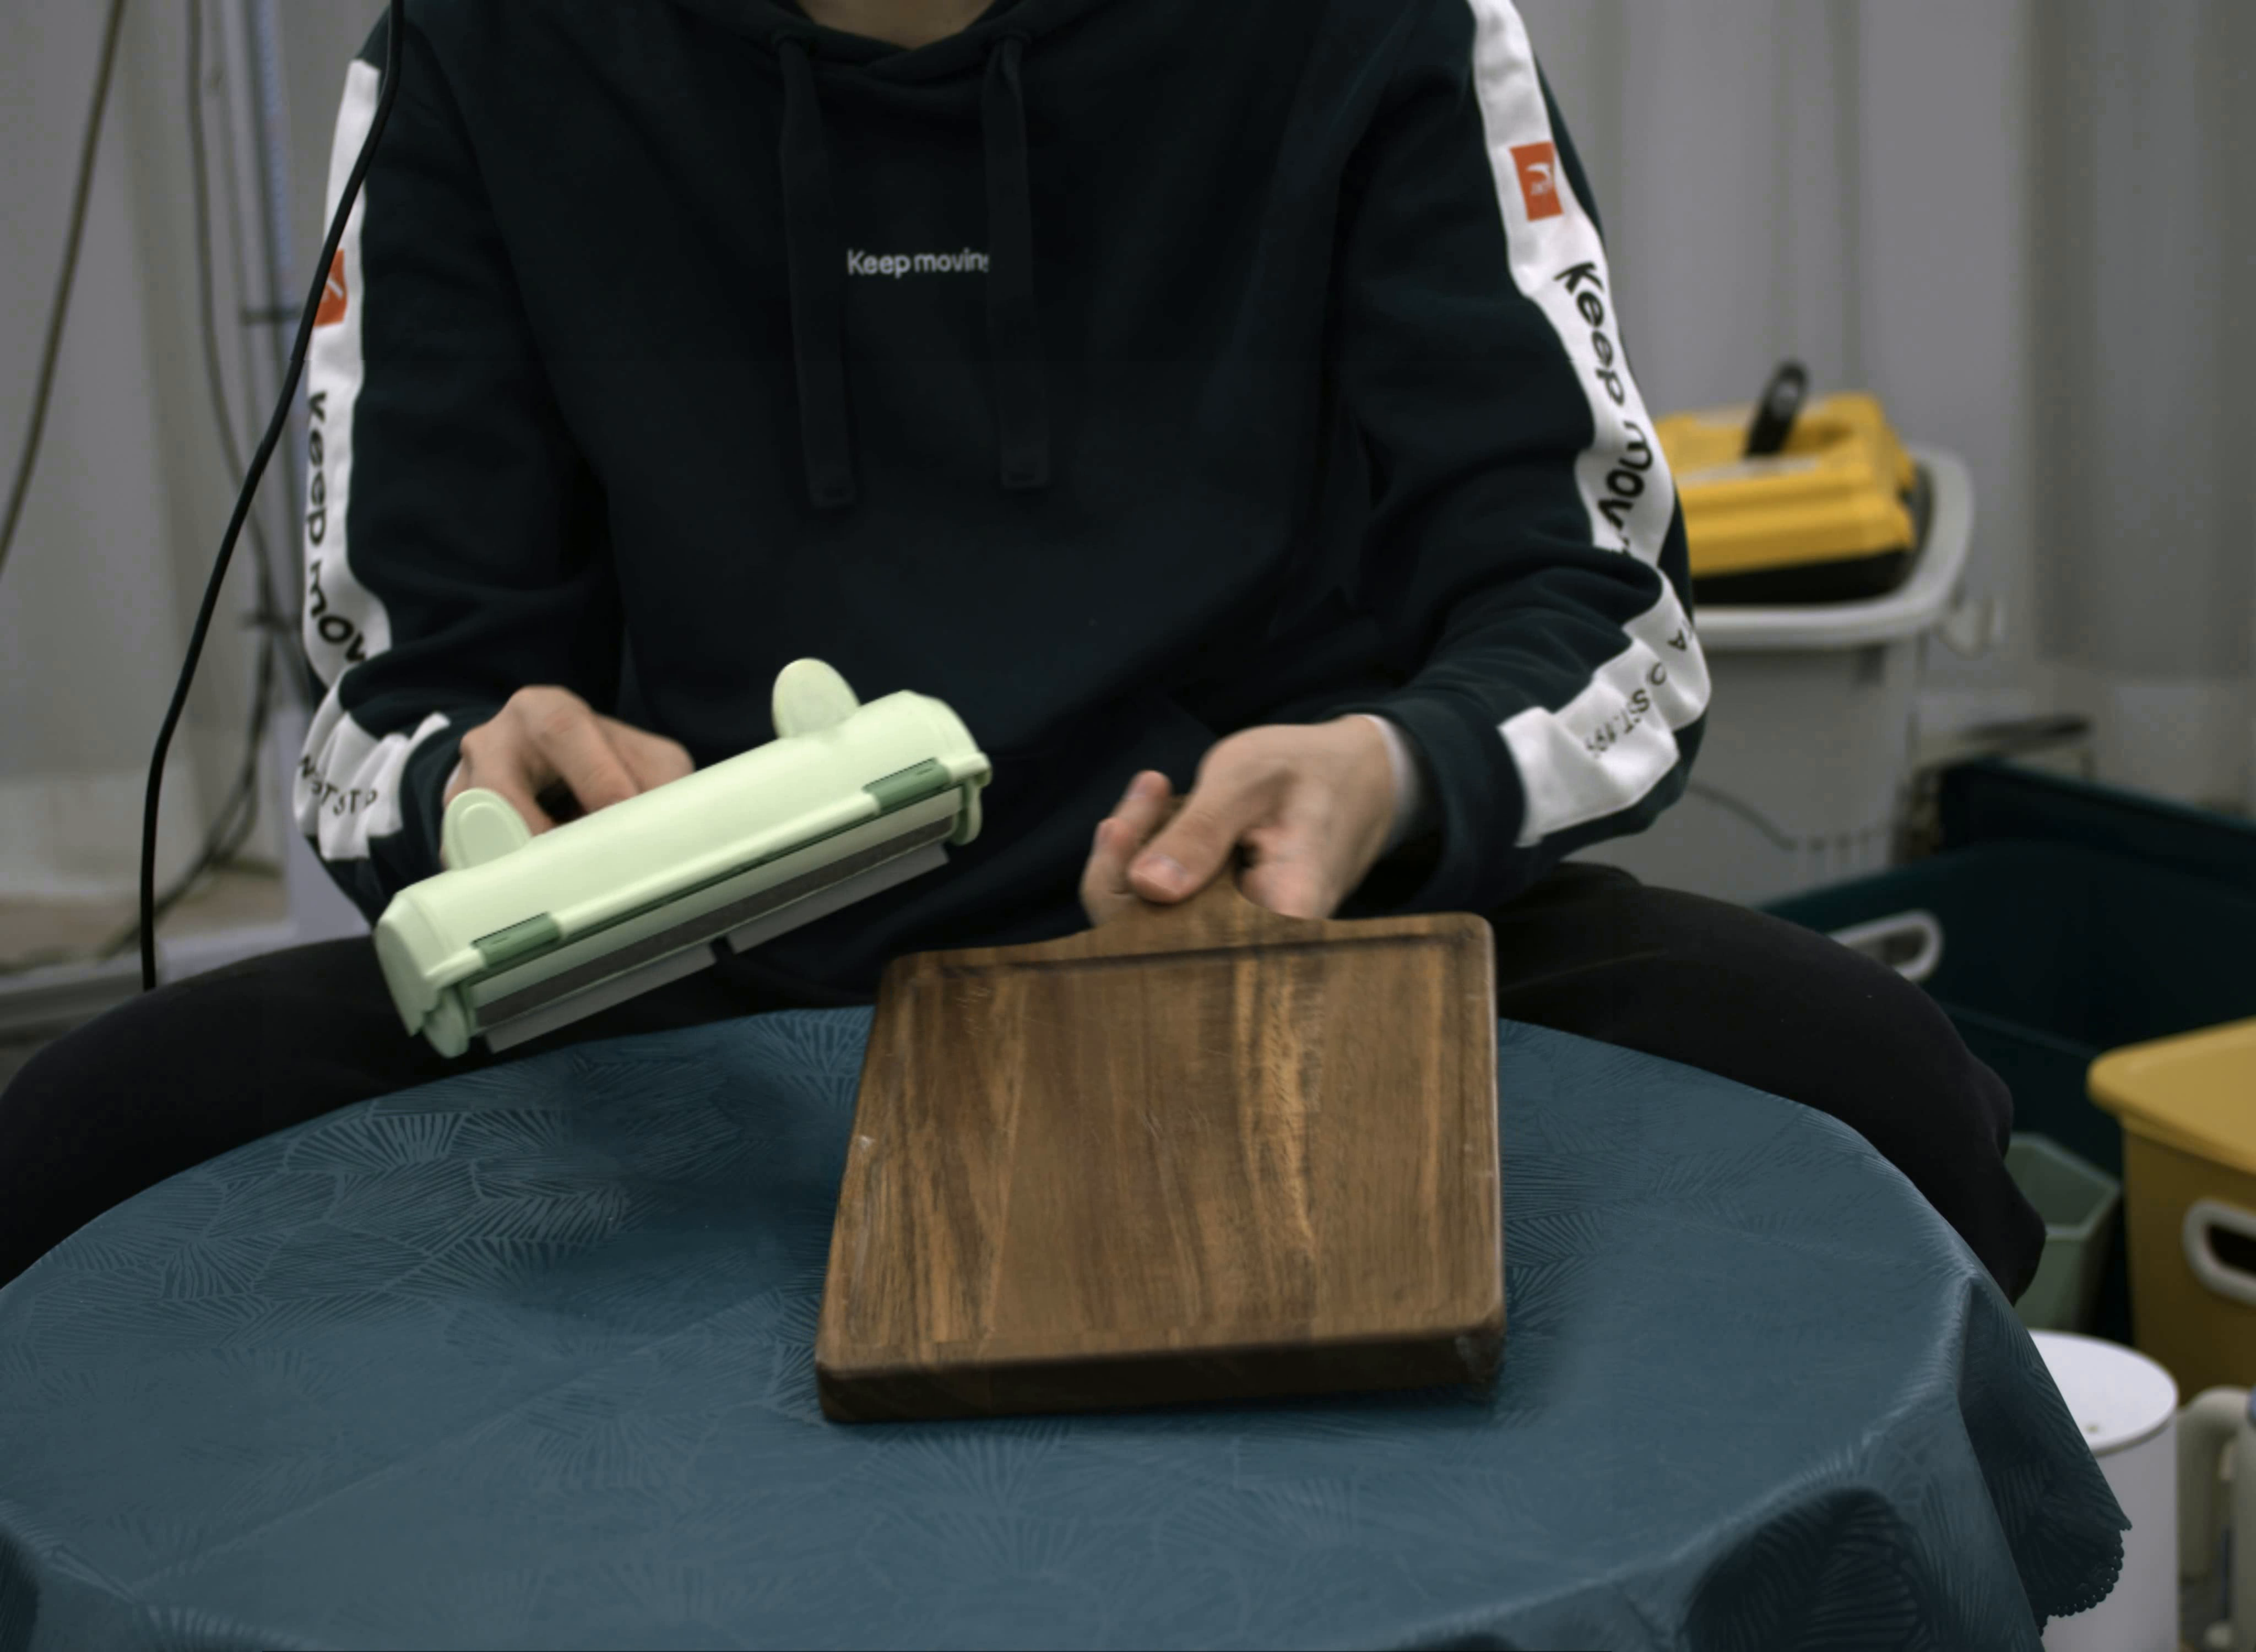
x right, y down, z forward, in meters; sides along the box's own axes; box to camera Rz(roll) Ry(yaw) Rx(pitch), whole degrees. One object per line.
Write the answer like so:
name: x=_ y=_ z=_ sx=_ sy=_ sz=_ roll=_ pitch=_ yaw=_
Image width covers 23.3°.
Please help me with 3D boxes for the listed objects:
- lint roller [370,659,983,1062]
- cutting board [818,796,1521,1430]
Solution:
lint roller: x=-0.167 y=-0.003 z=1.765 sx=0.198 sy=0.081 sz=0.185 roll=-23 pitch=22 yaw=-21
cutting board: x=0.017 y=0.077 z=1.674 sx=0.200 sy=0.023 sz=0.356 roll=-4 pitch=26 yaw=5
